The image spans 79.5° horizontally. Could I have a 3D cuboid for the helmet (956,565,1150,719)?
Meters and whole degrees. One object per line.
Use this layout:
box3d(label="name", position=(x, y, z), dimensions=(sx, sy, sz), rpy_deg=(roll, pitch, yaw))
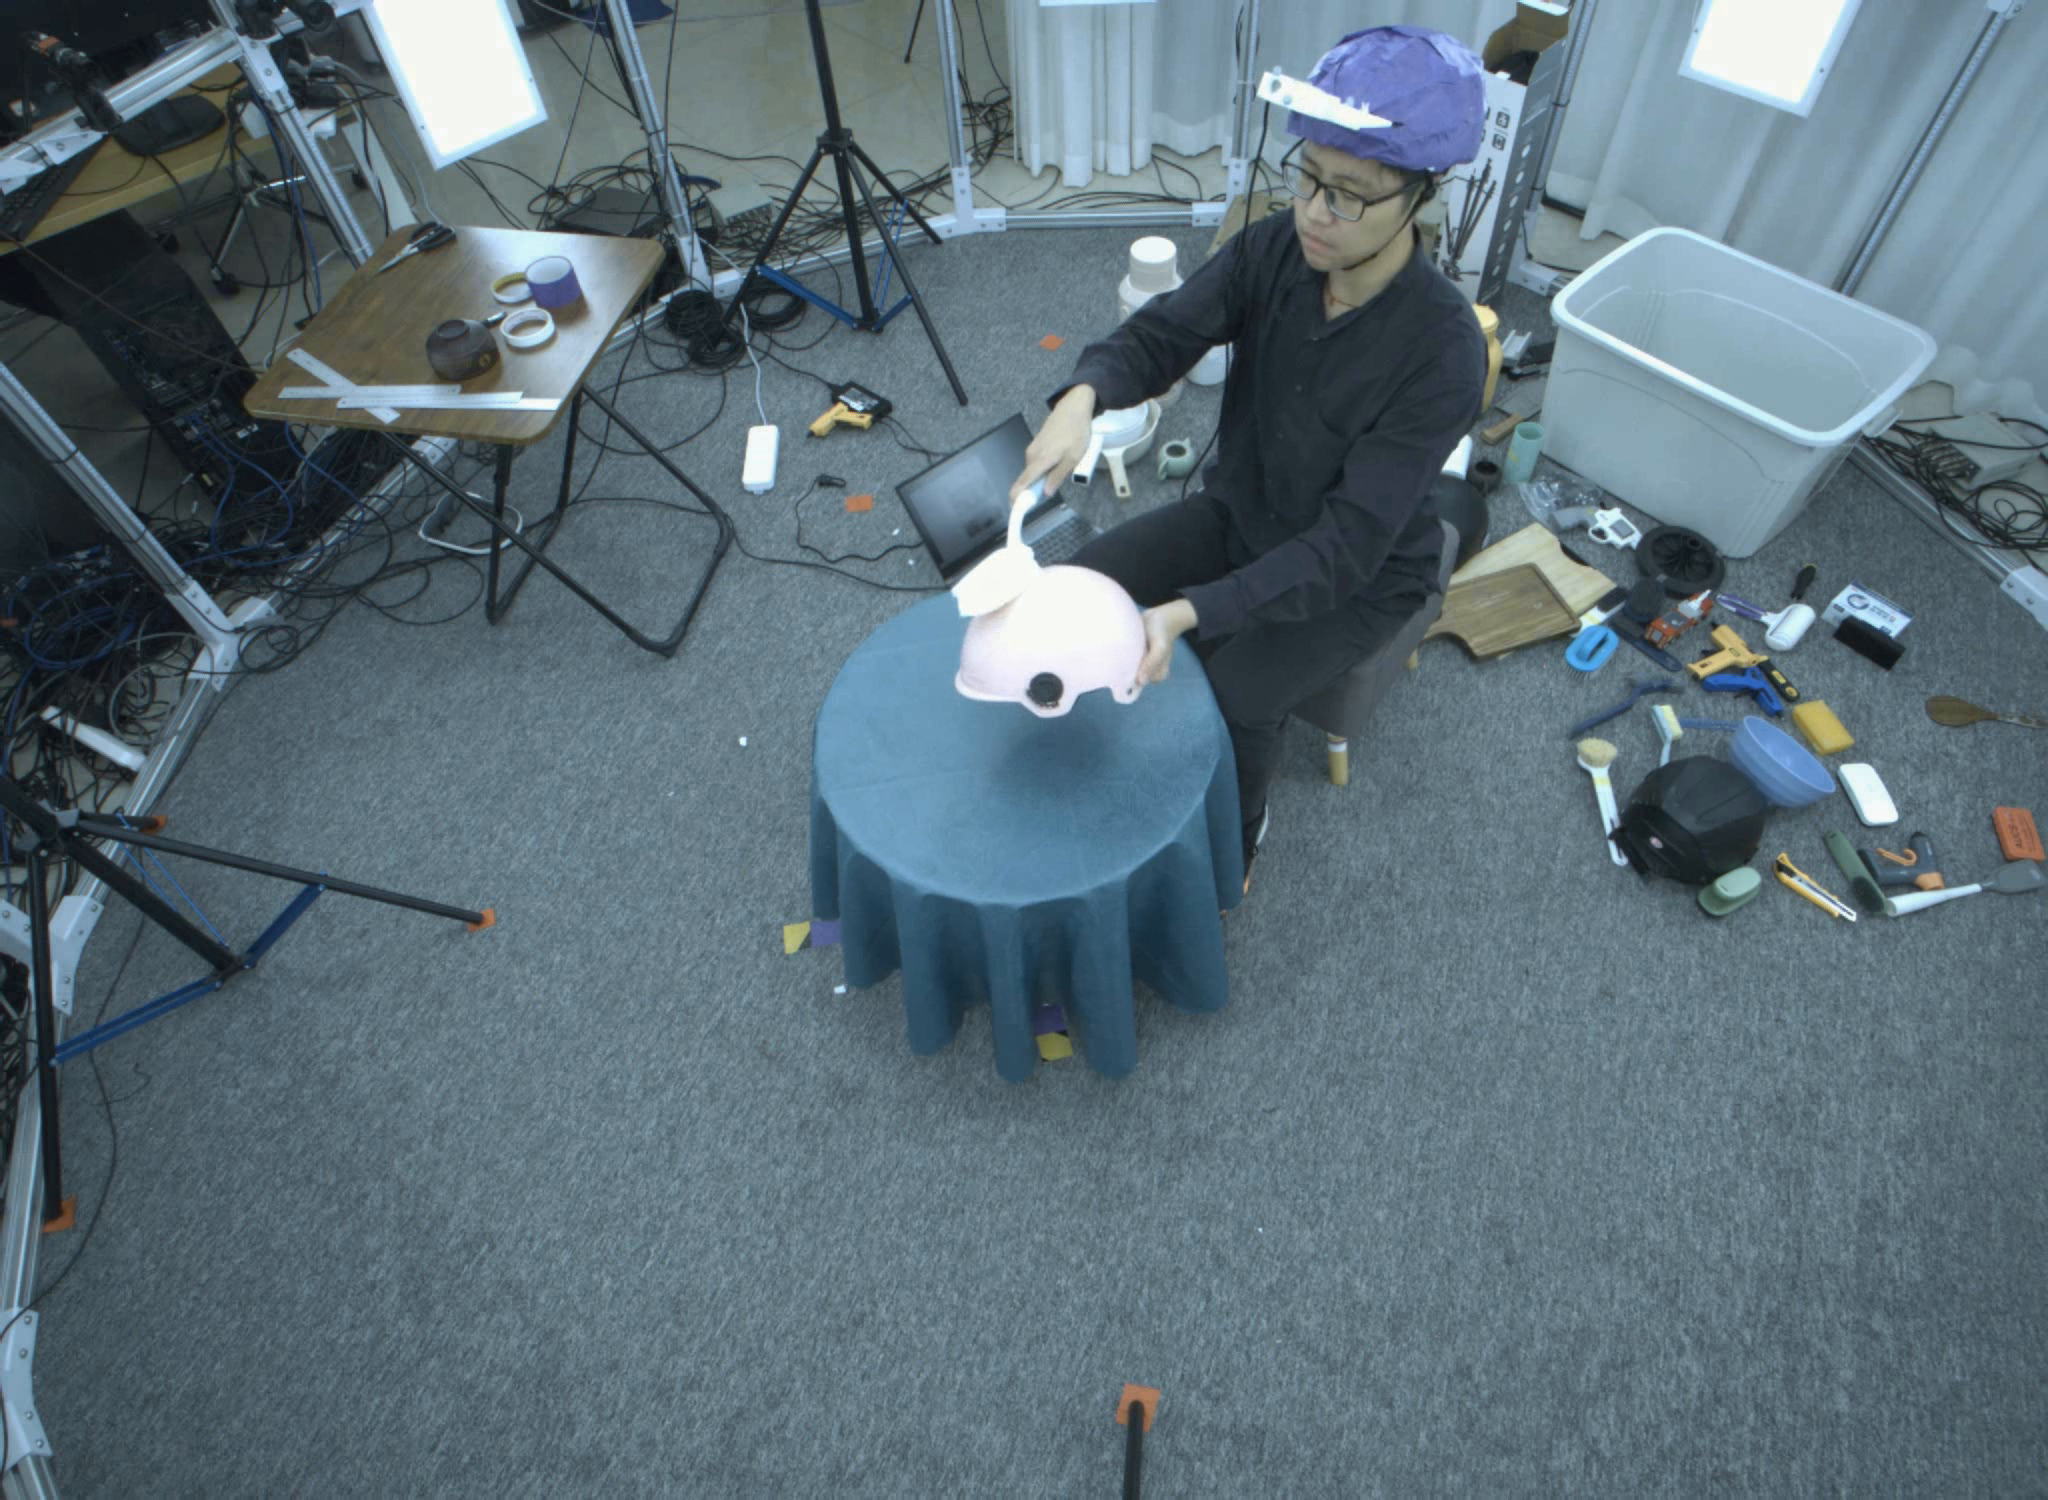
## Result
box3d(label="helmet", position=(0.033, -0.159, 1.633), dimensions=(0.267, 0.160, 0.230), rpy_deg=(-9, 29, -6))

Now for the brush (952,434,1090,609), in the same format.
box3d(label="brush", position=(0.016, -0.292, 1.619), dimensions=(0.082, 0.085, 0.326), rpy_deg=(30, 63, 11))
